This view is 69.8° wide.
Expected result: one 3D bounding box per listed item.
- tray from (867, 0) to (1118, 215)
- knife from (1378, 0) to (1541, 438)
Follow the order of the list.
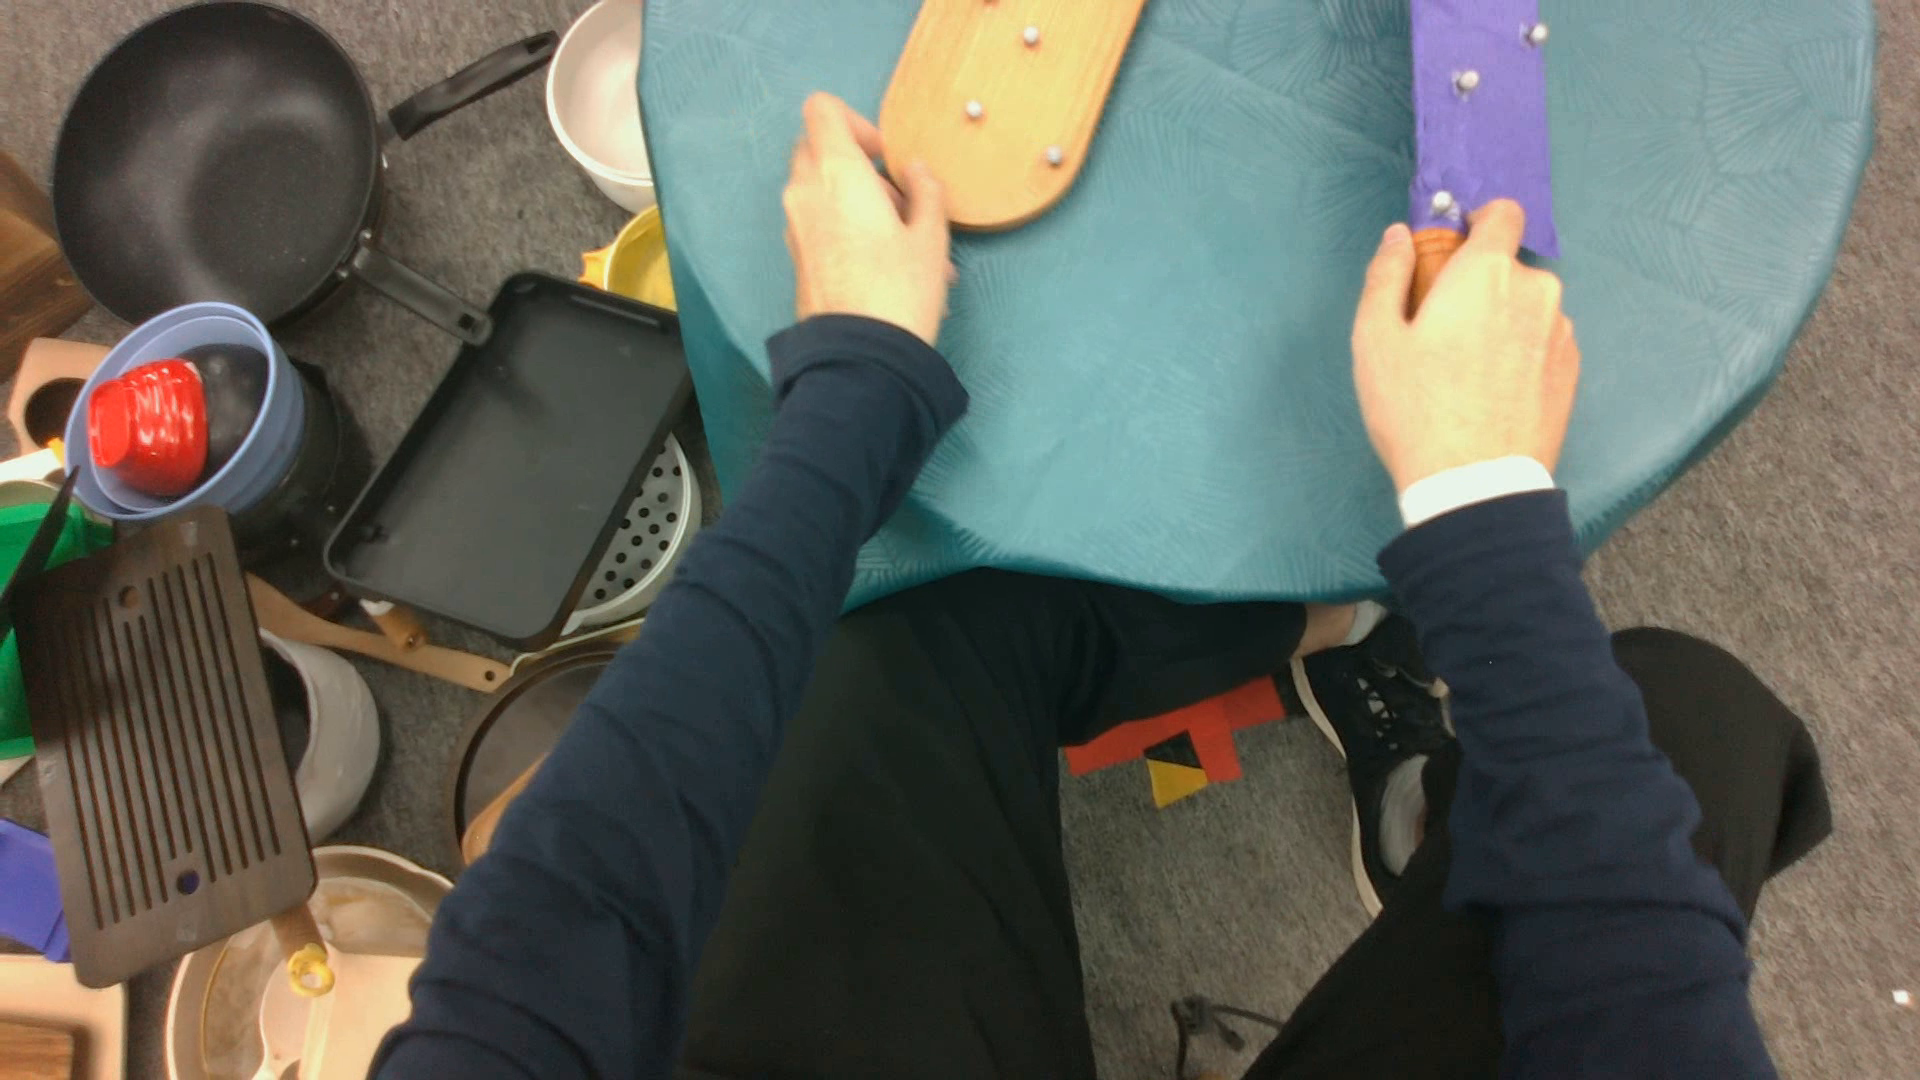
[{"bbox_3d":[0.025,-0.264,0.682,0.101,0.020,0.232,16,75,6],"label":"tray"},{"bbox_3d":[0.226,-0.192,0.622,0.104,0.032,0.316,11,73,-27],"label":"knife"}]
